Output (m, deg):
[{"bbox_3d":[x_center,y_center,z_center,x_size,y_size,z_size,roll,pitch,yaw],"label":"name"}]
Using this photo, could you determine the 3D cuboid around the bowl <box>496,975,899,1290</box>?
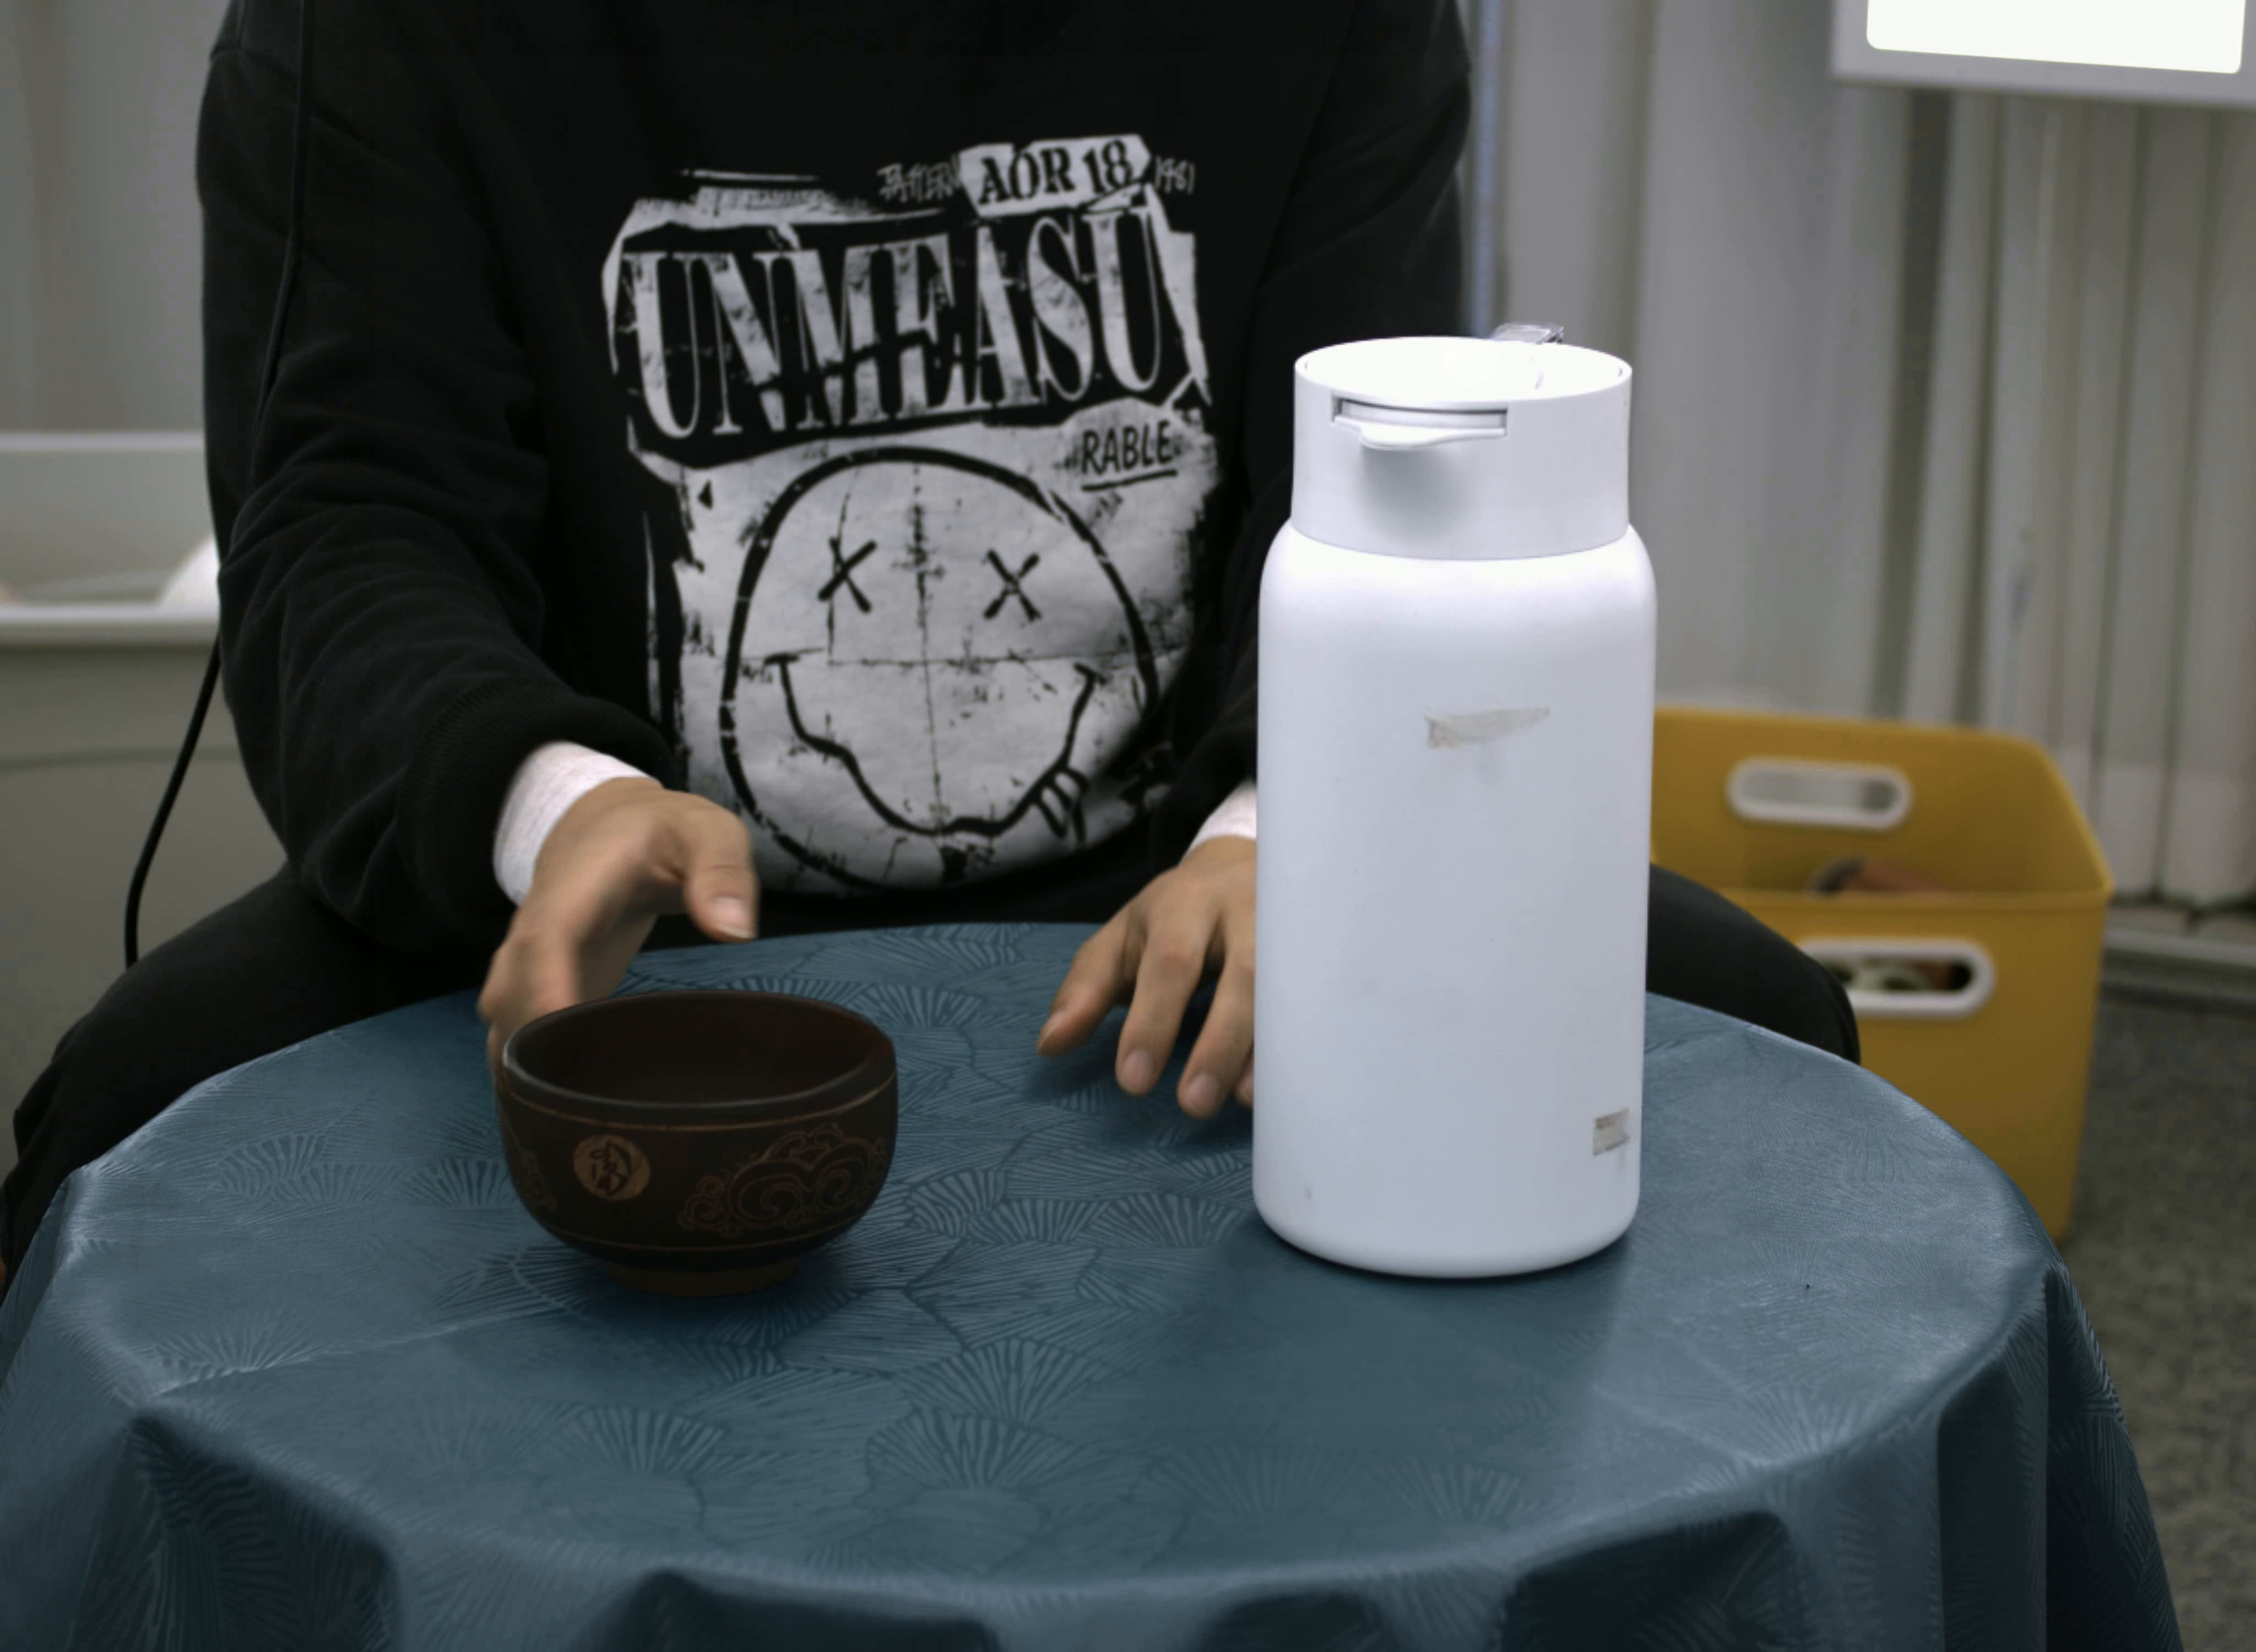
[{"bbox_3d":[-0.126,0.094,1.546,0.117,0.070,0.117,1,17,0],"label":"bowl"}]

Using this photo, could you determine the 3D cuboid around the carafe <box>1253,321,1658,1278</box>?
[{"bbox_3d":[0.101,-0.013,1.575,0.123,0.271,0.173,4,17,19],"label":"carafe"}]
